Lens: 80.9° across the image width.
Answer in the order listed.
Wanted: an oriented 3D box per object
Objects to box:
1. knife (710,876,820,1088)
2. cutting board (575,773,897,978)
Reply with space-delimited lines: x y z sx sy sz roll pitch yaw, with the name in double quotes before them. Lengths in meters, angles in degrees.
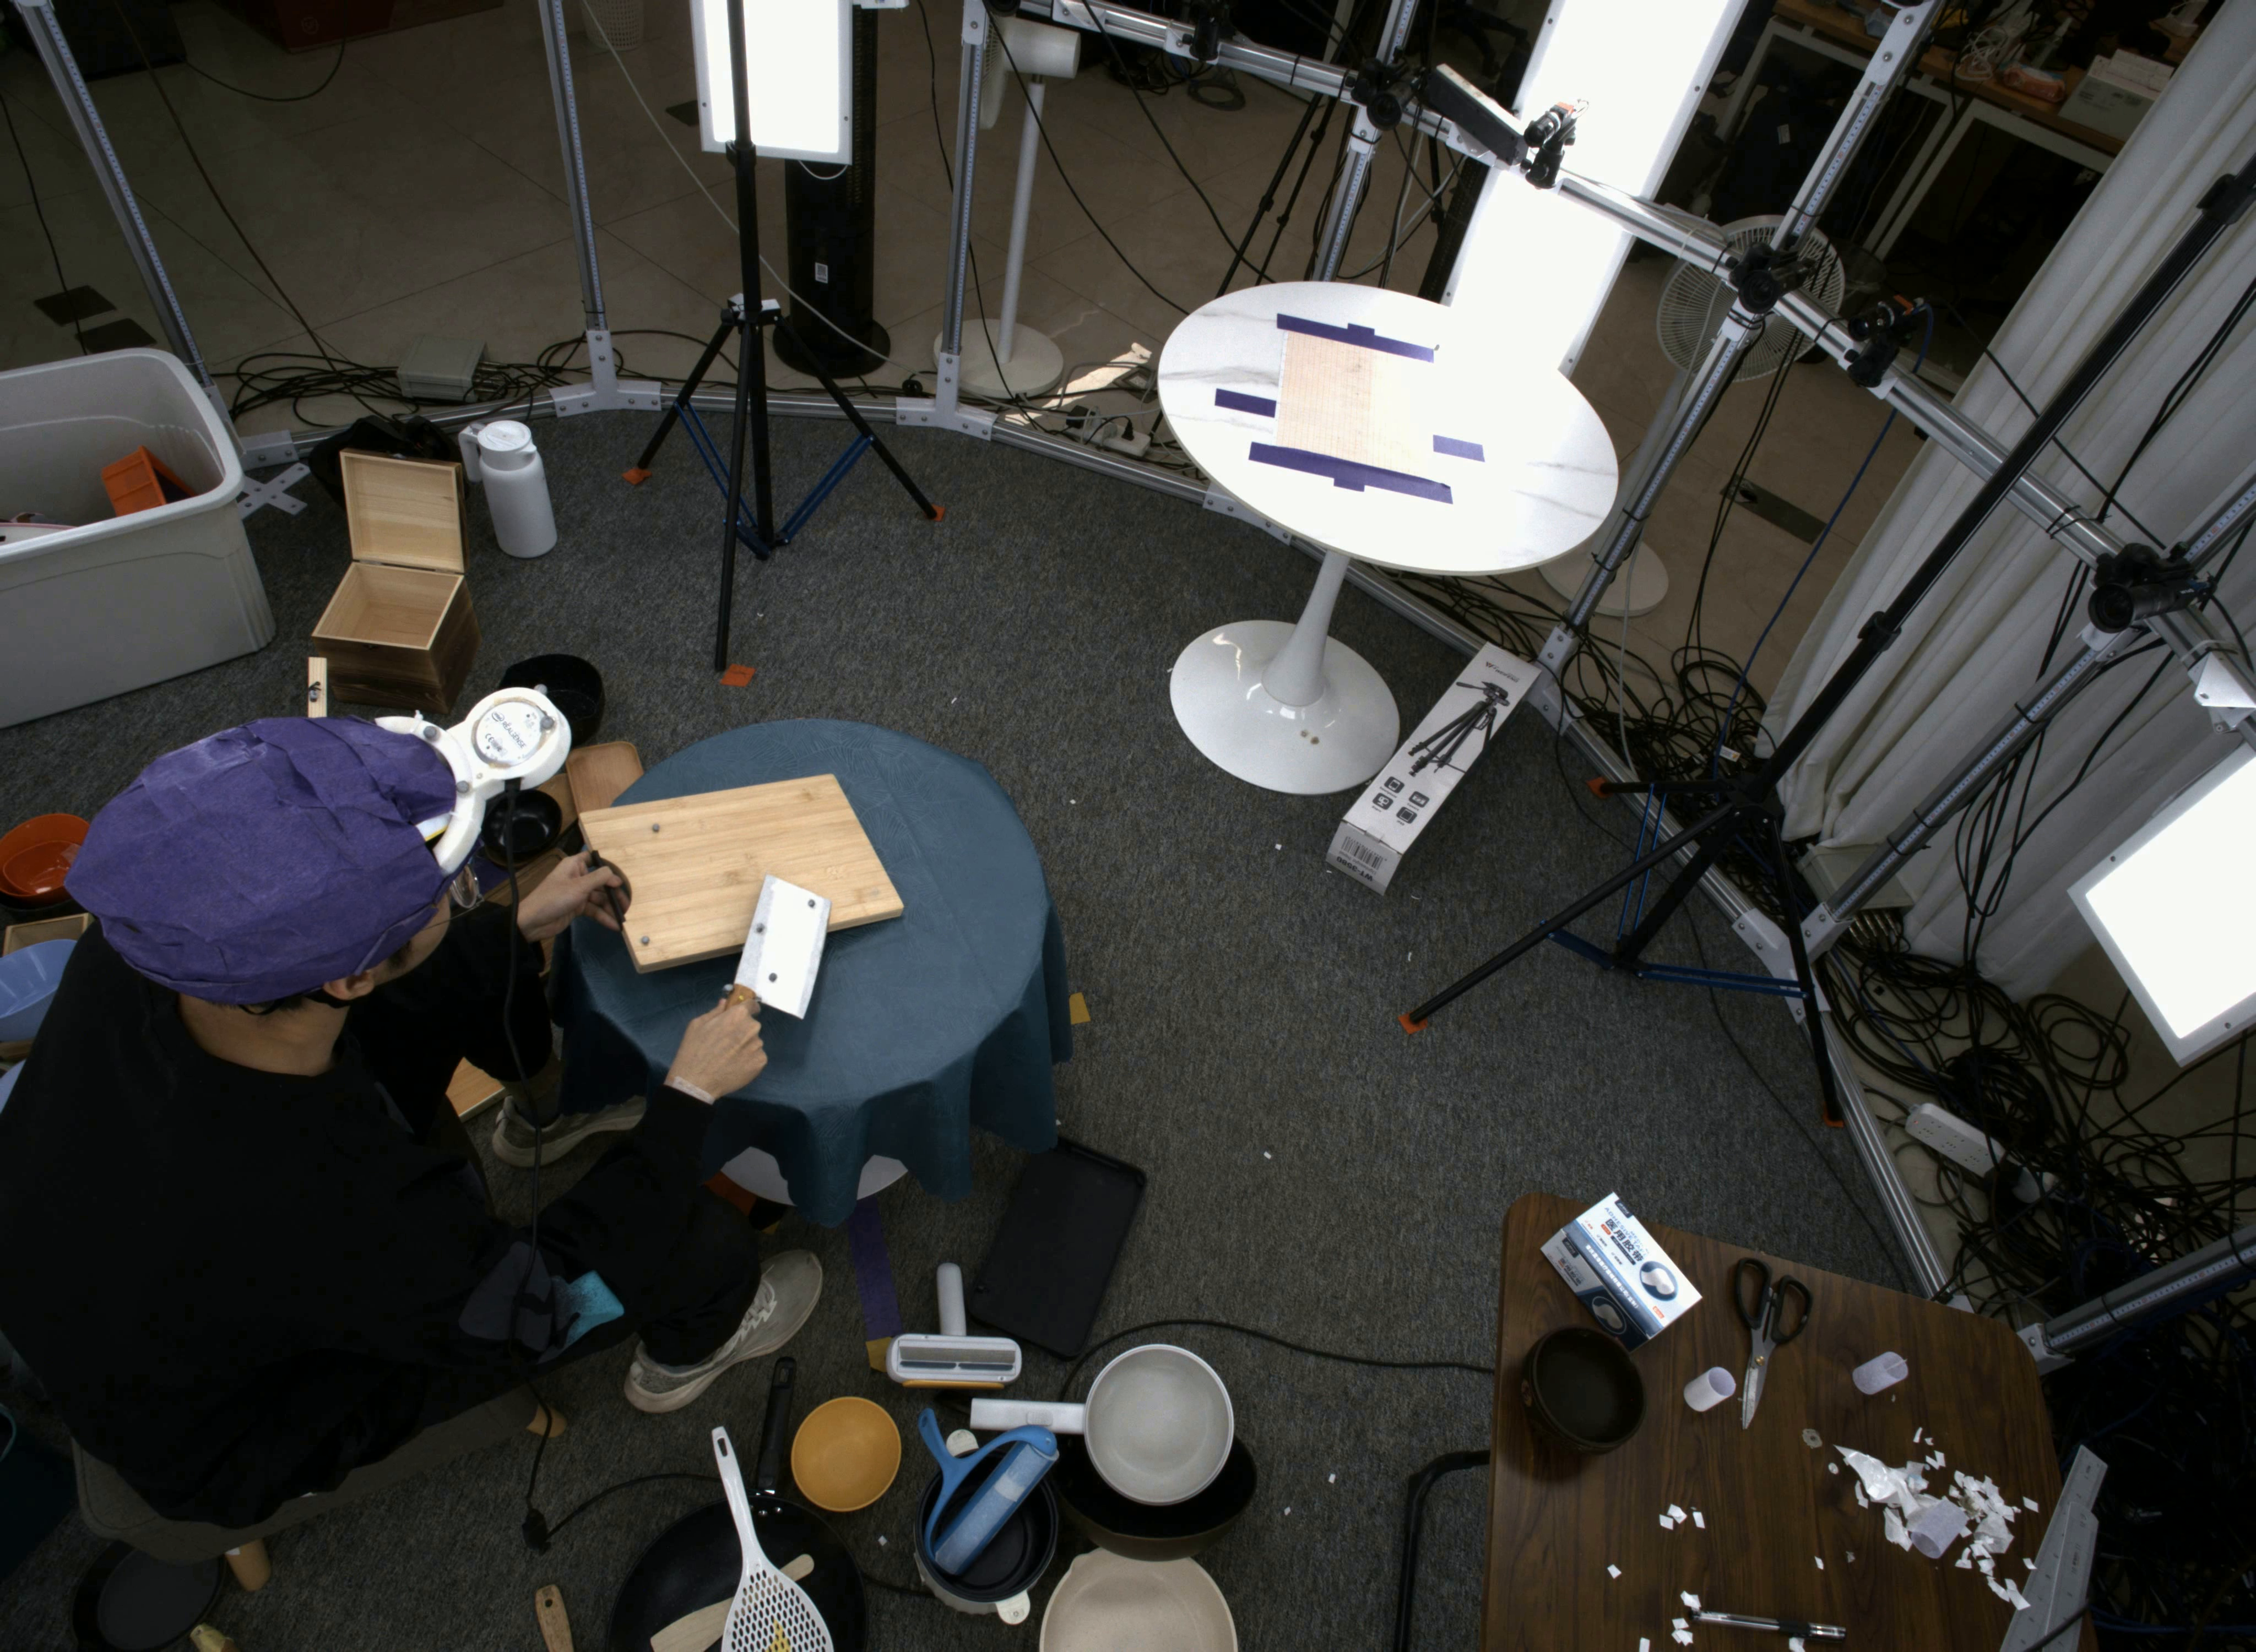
"knife" -0.409 0.176 1.487 0.095 0.021 0.299 28 38 -24
"cutting board" -0.486 0.049 1.603 0.353 0.024 0.244 -13 57 -38
